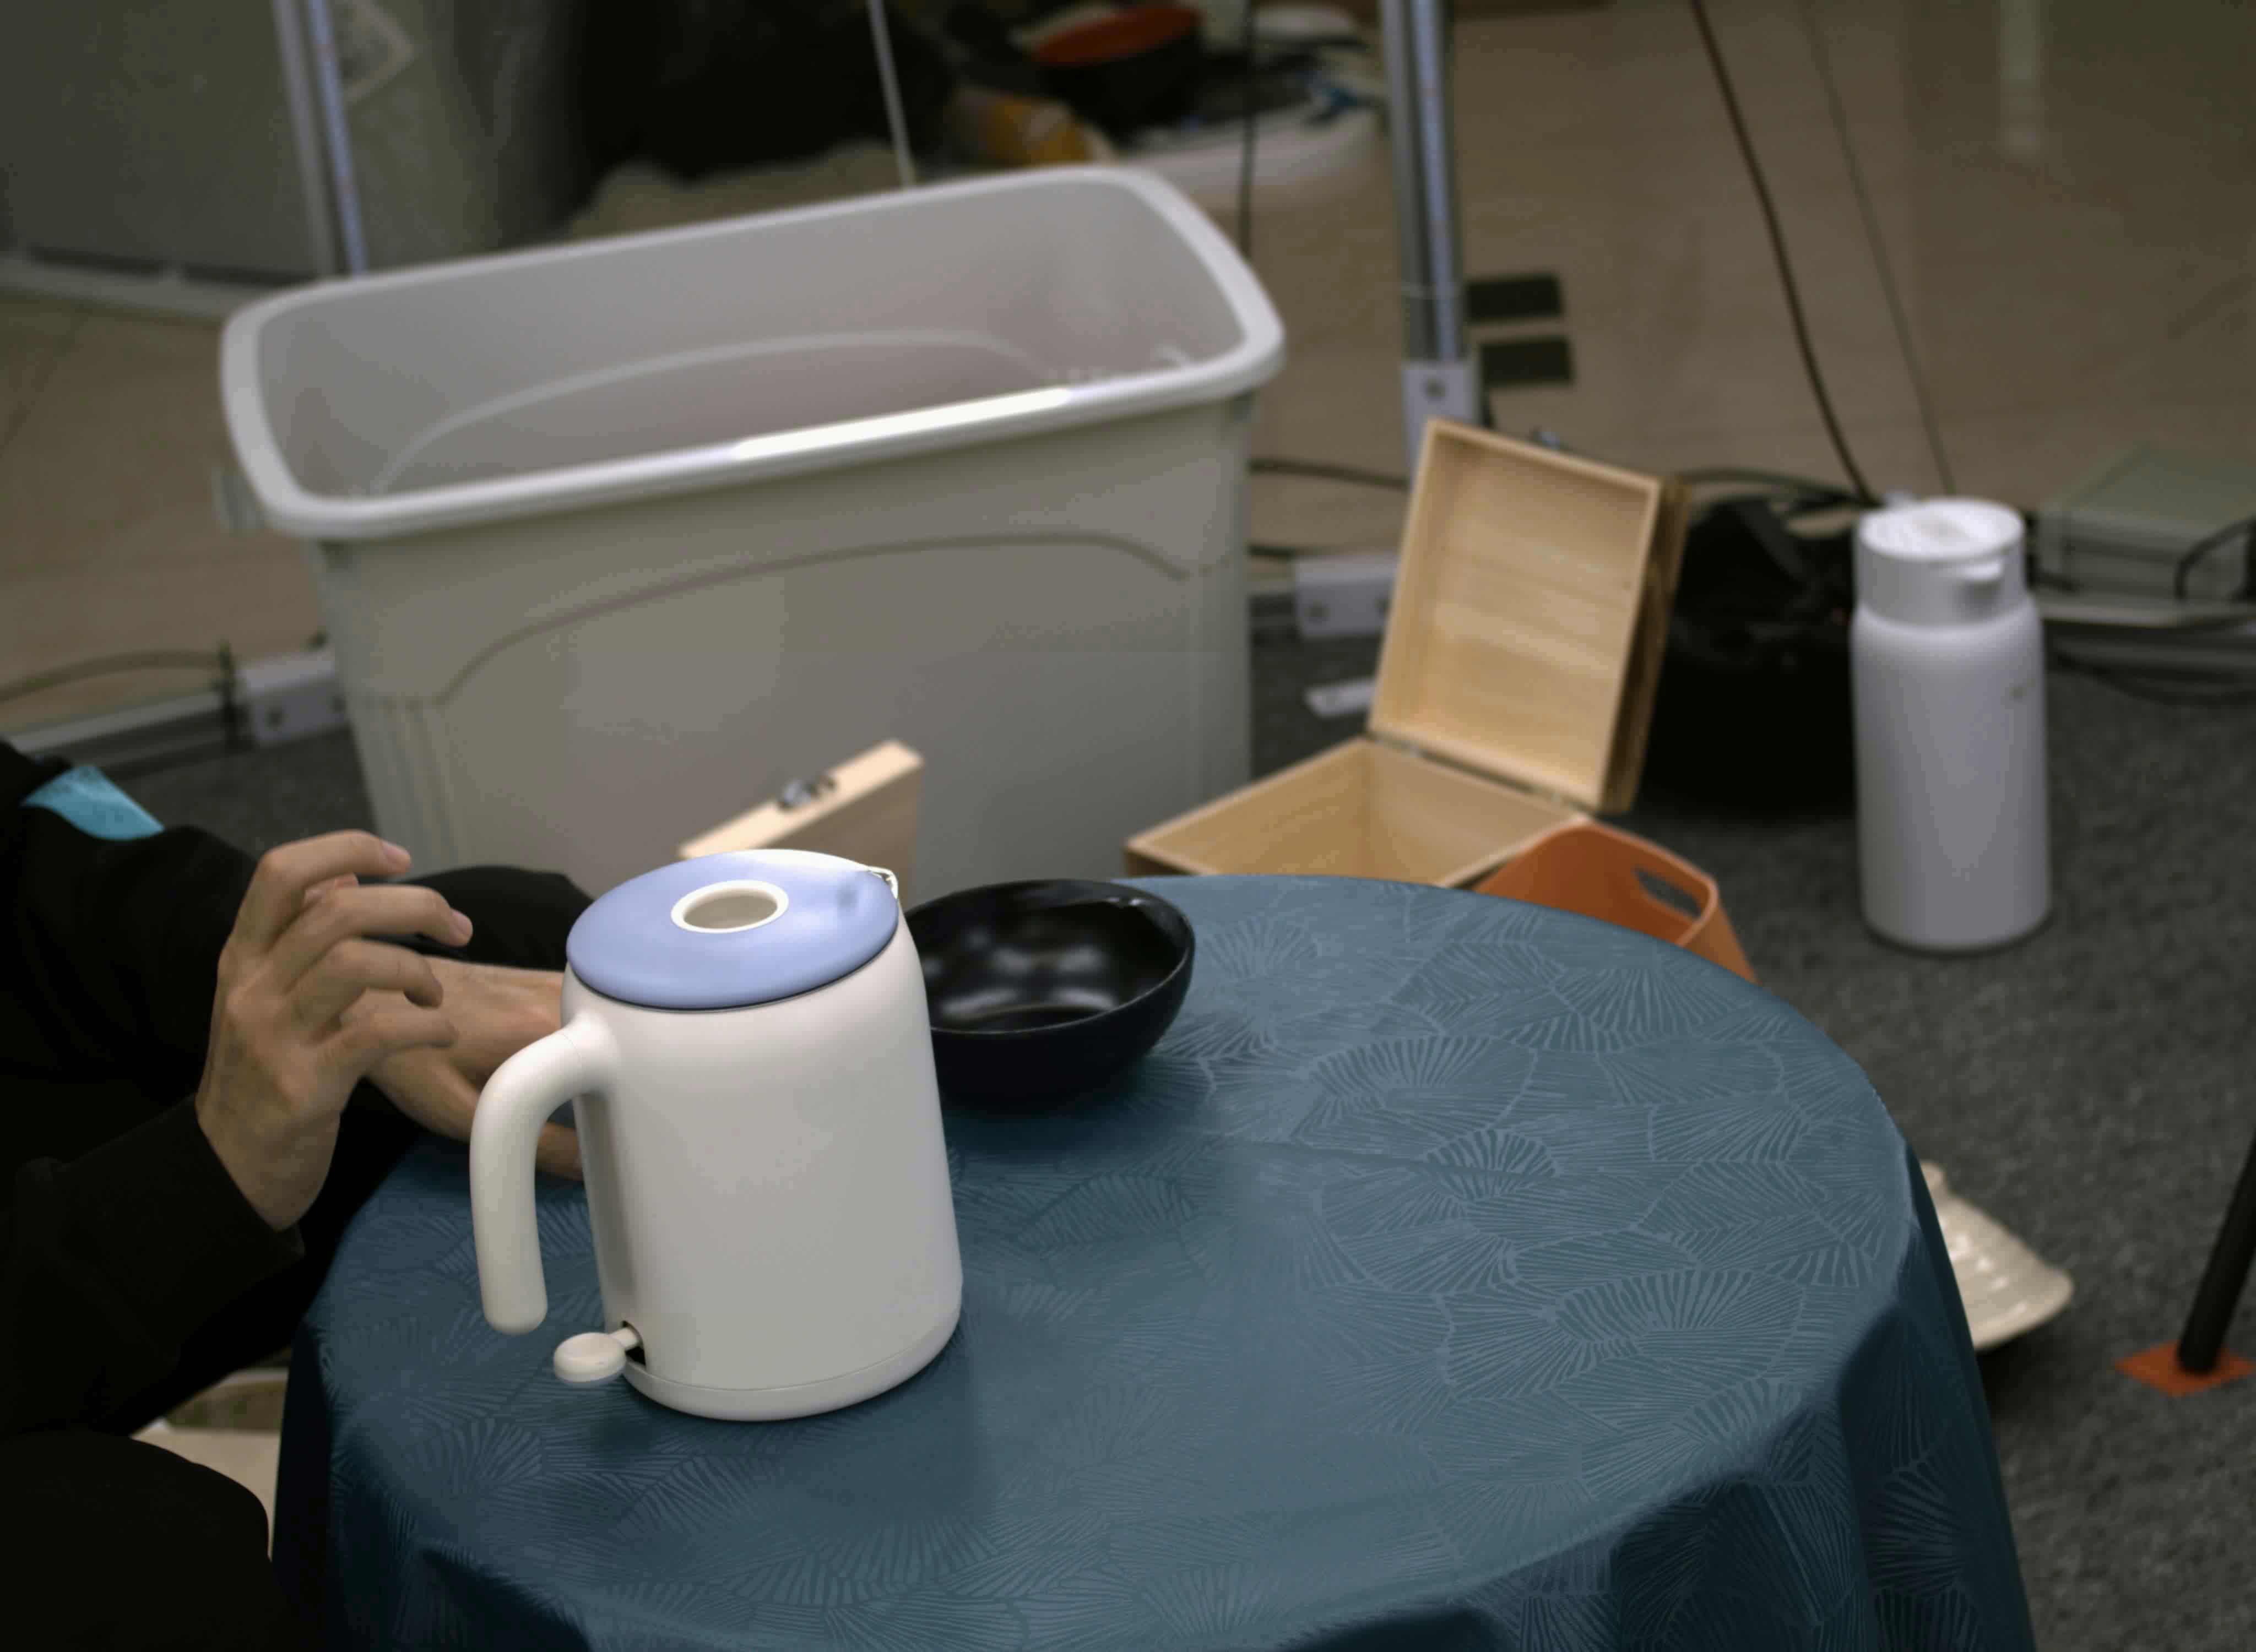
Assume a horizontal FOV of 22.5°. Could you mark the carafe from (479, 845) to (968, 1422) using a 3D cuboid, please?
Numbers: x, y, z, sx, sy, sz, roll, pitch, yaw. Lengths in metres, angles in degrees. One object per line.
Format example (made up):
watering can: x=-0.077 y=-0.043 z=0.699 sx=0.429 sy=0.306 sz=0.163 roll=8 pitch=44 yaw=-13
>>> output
carafe: x=-0.150 y=0.118 z=2.021 sx=0.189 sy=0.185 sz=0.131 roll=-26 pitch=31 yaw=-31

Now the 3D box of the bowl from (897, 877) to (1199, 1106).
bowl: x=-0.039 y=0.072 z=2.240 sx=0.140 sy=0.050 sz=0.138 roll=-7 pitch=26 yaw=4
